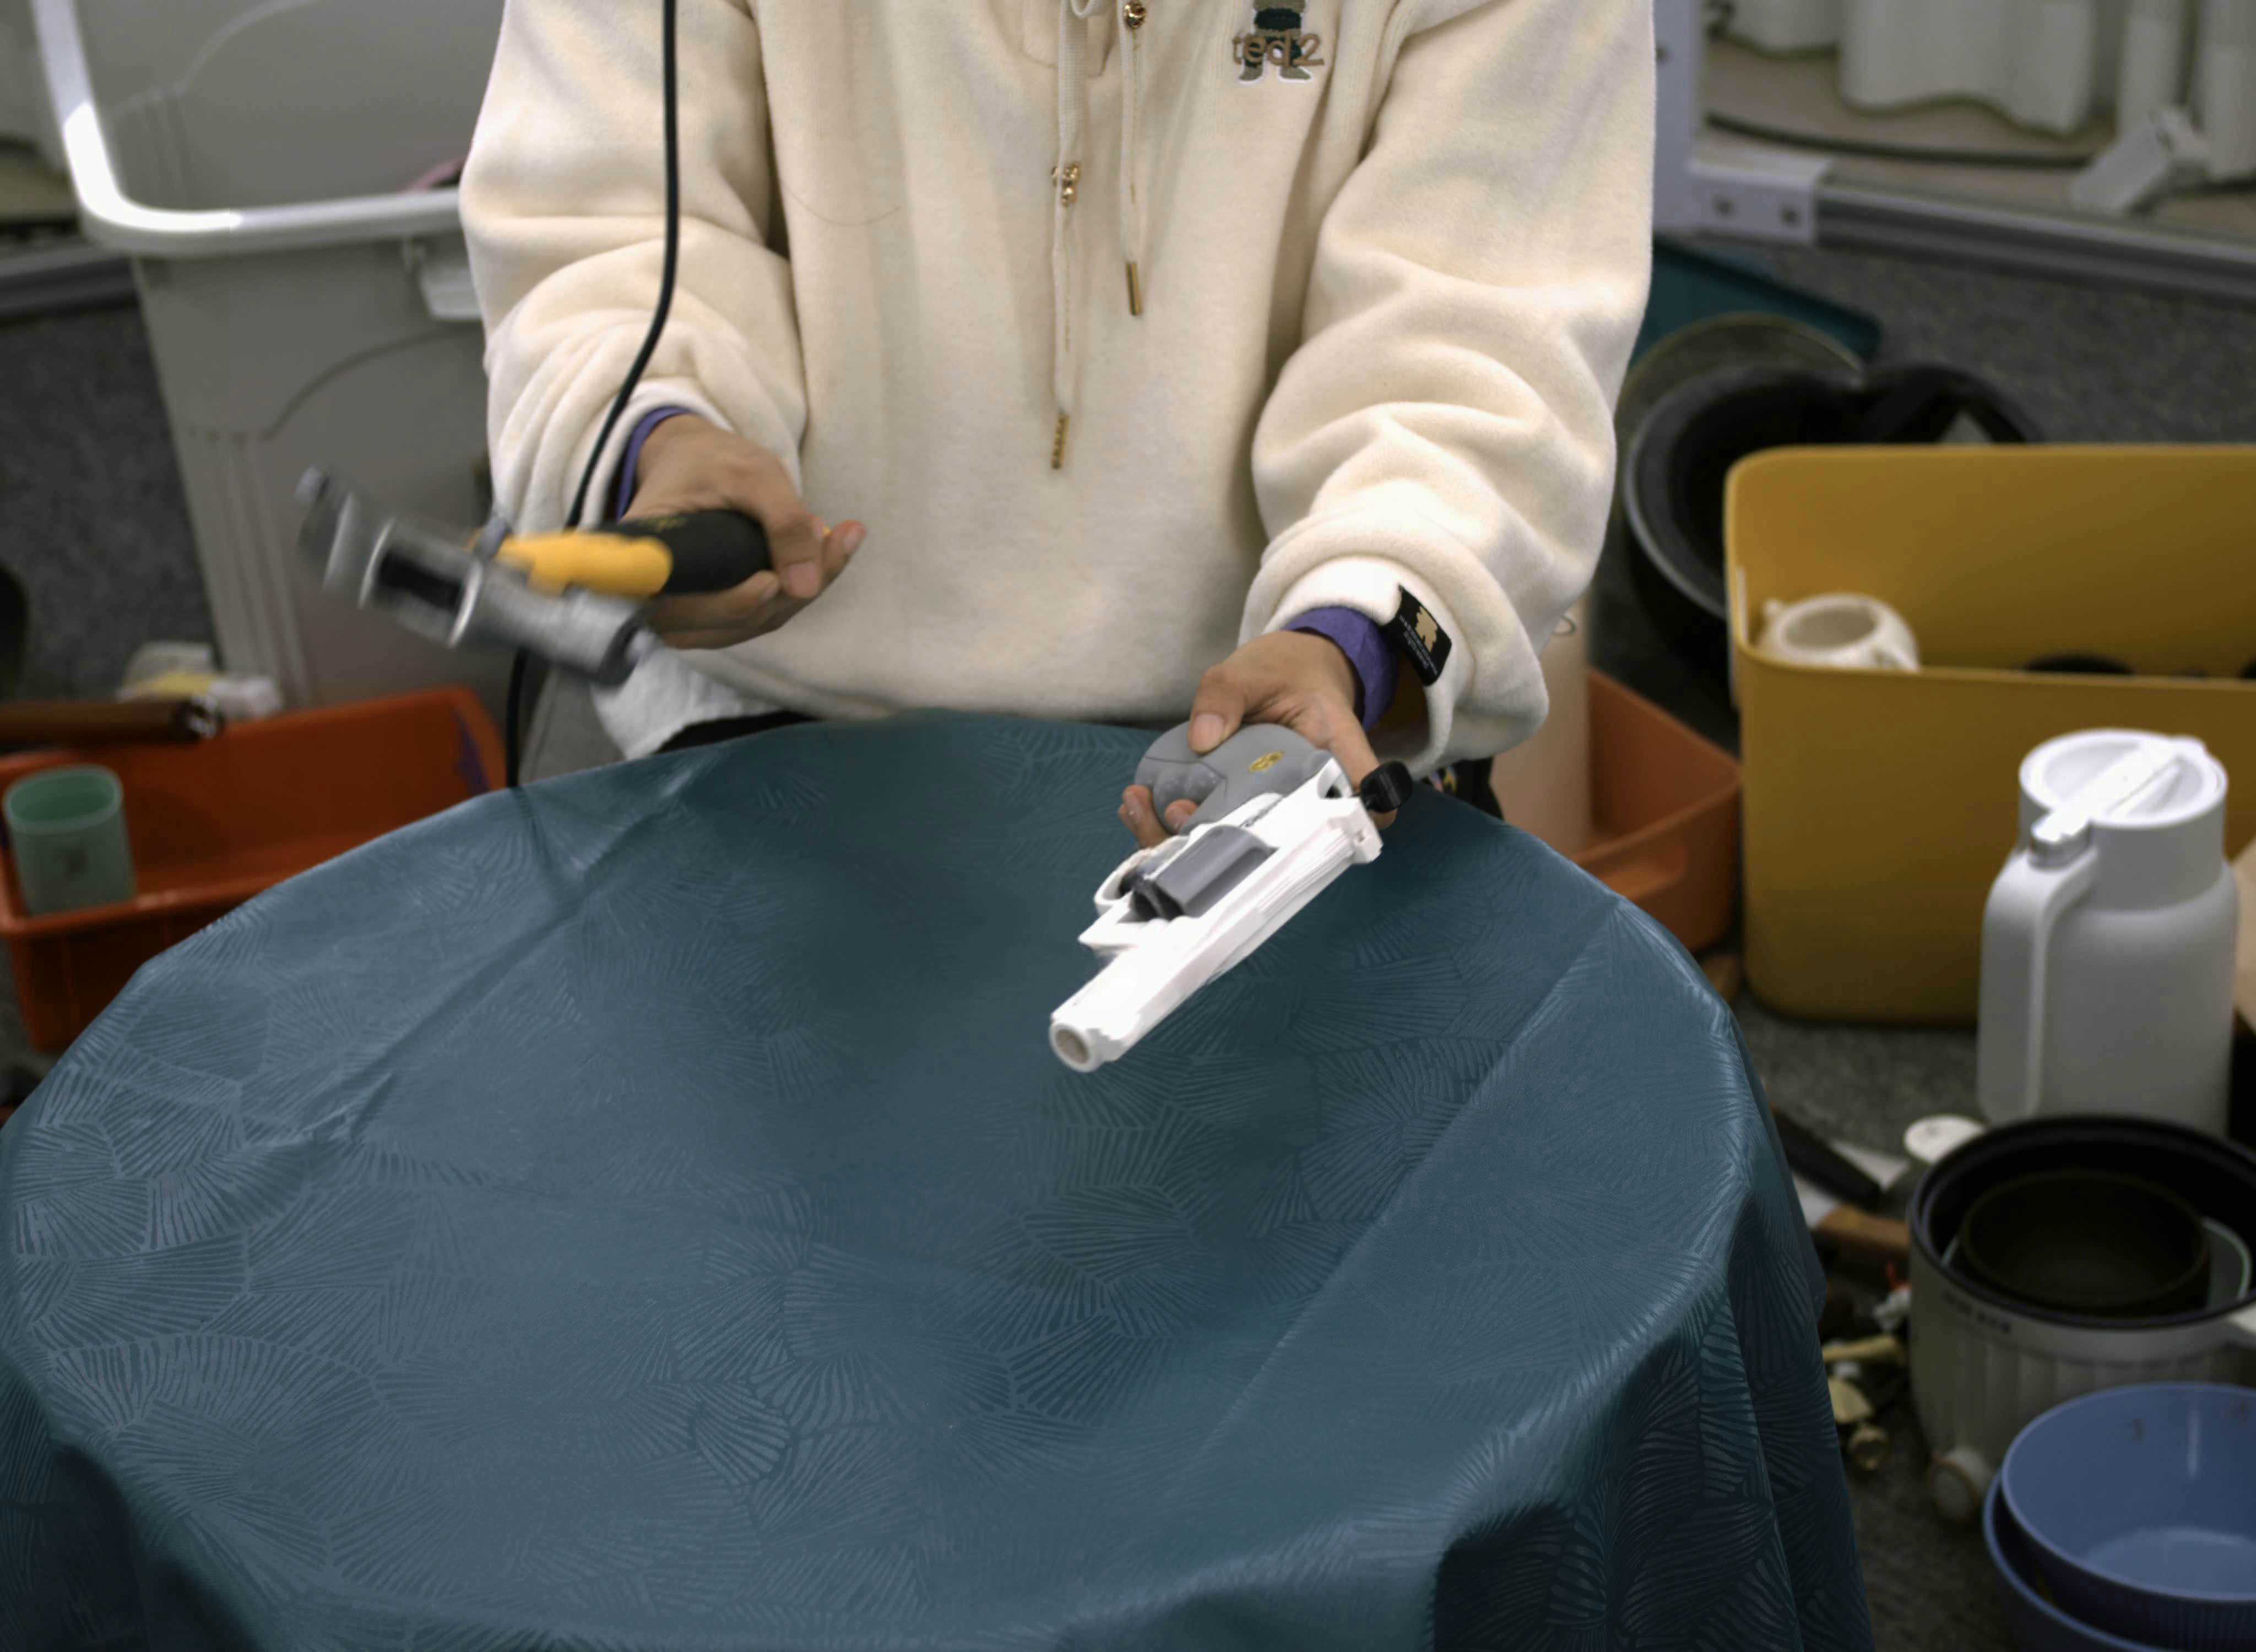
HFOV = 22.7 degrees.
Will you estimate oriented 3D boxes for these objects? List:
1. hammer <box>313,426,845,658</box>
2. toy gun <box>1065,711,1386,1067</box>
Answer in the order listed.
[{"bbox_3d":[-0.165,-0.098,1.881,0.131,0.032,0.340,20,9,14],"label":"hammer"},{"bbox_3d":[0.016,0.017,1.858,0.140,0.038,0.212,-5,26,45],"label":"toy gun"}]
